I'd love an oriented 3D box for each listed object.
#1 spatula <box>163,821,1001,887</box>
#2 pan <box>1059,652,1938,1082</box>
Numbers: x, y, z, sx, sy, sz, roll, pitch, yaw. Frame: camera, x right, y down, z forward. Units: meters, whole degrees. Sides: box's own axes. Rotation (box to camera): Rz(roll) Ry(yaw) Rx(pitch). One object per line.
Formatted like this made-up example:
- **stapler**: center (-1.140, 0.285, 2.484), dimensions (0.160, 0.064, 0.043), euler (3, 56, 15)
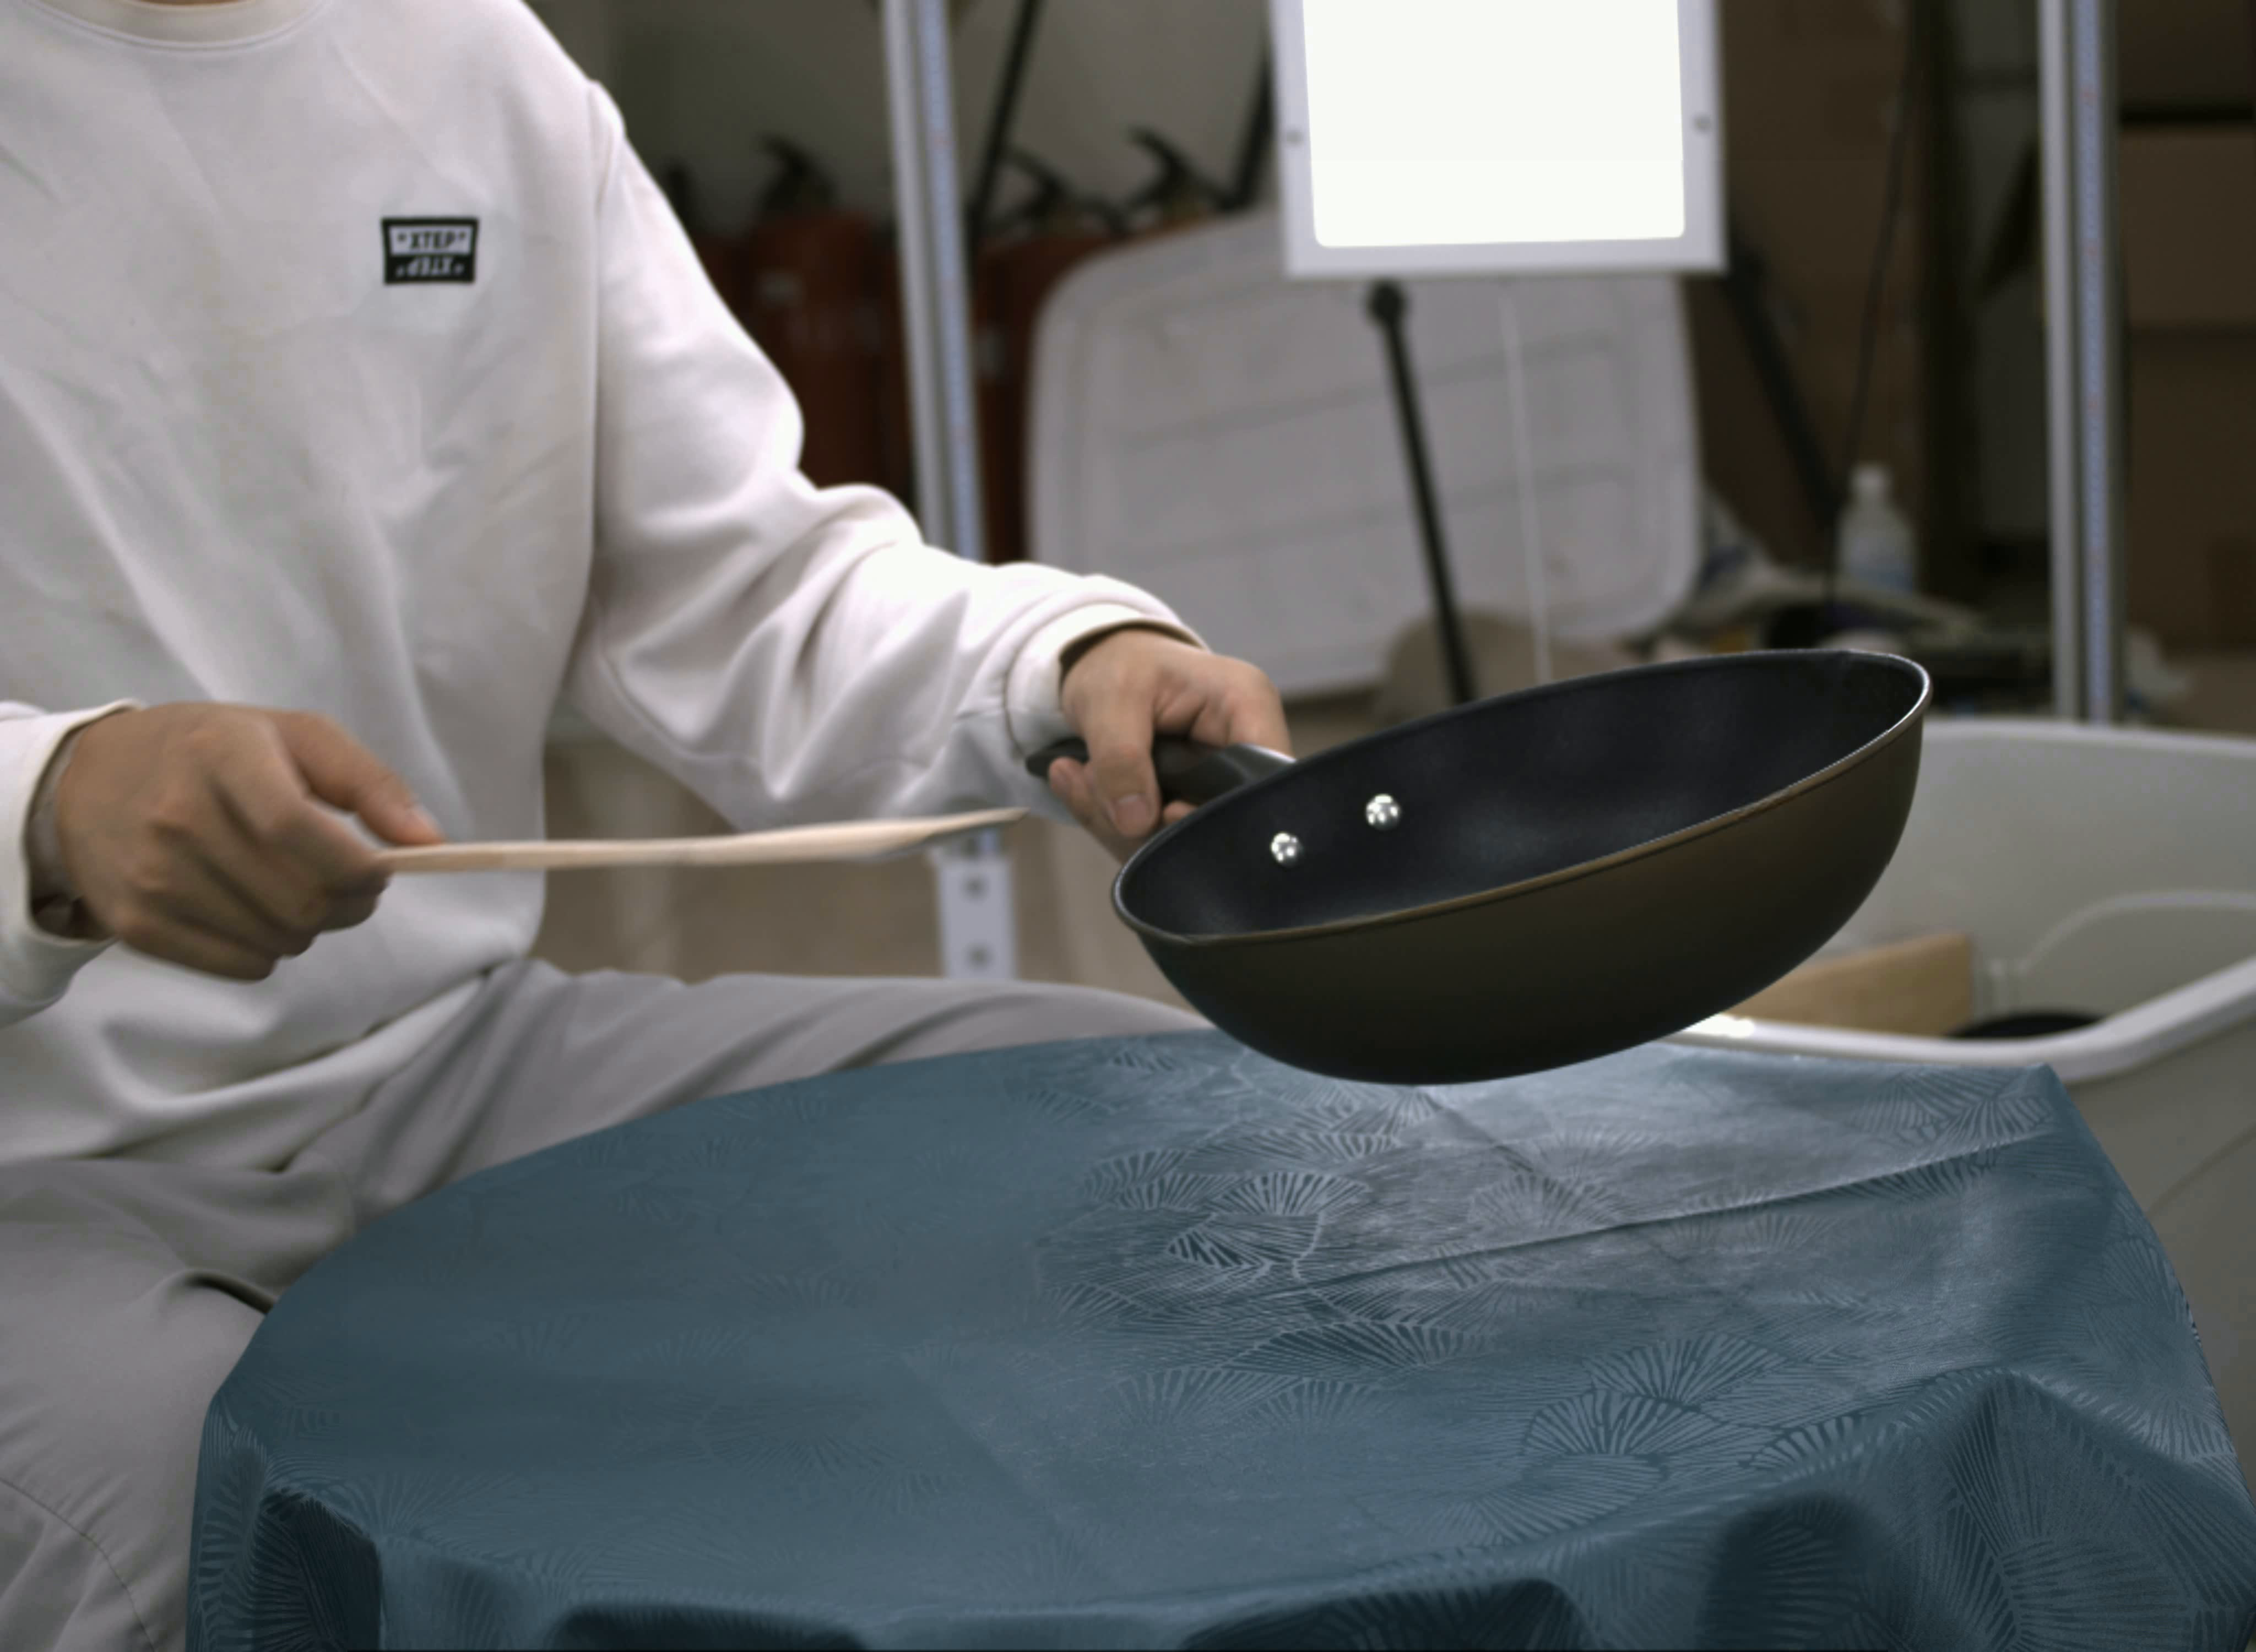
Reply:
- **spatula**: center (-0.183, 0.011, 1.755), dimensions (0.298, 0.011, 0.071), euler (-2, 5, 28)
- **pan**: center (0.096, 0.016, 1.904), dimensions (0.282, 0.087, 0.472), euler (-21, 12, -26)
